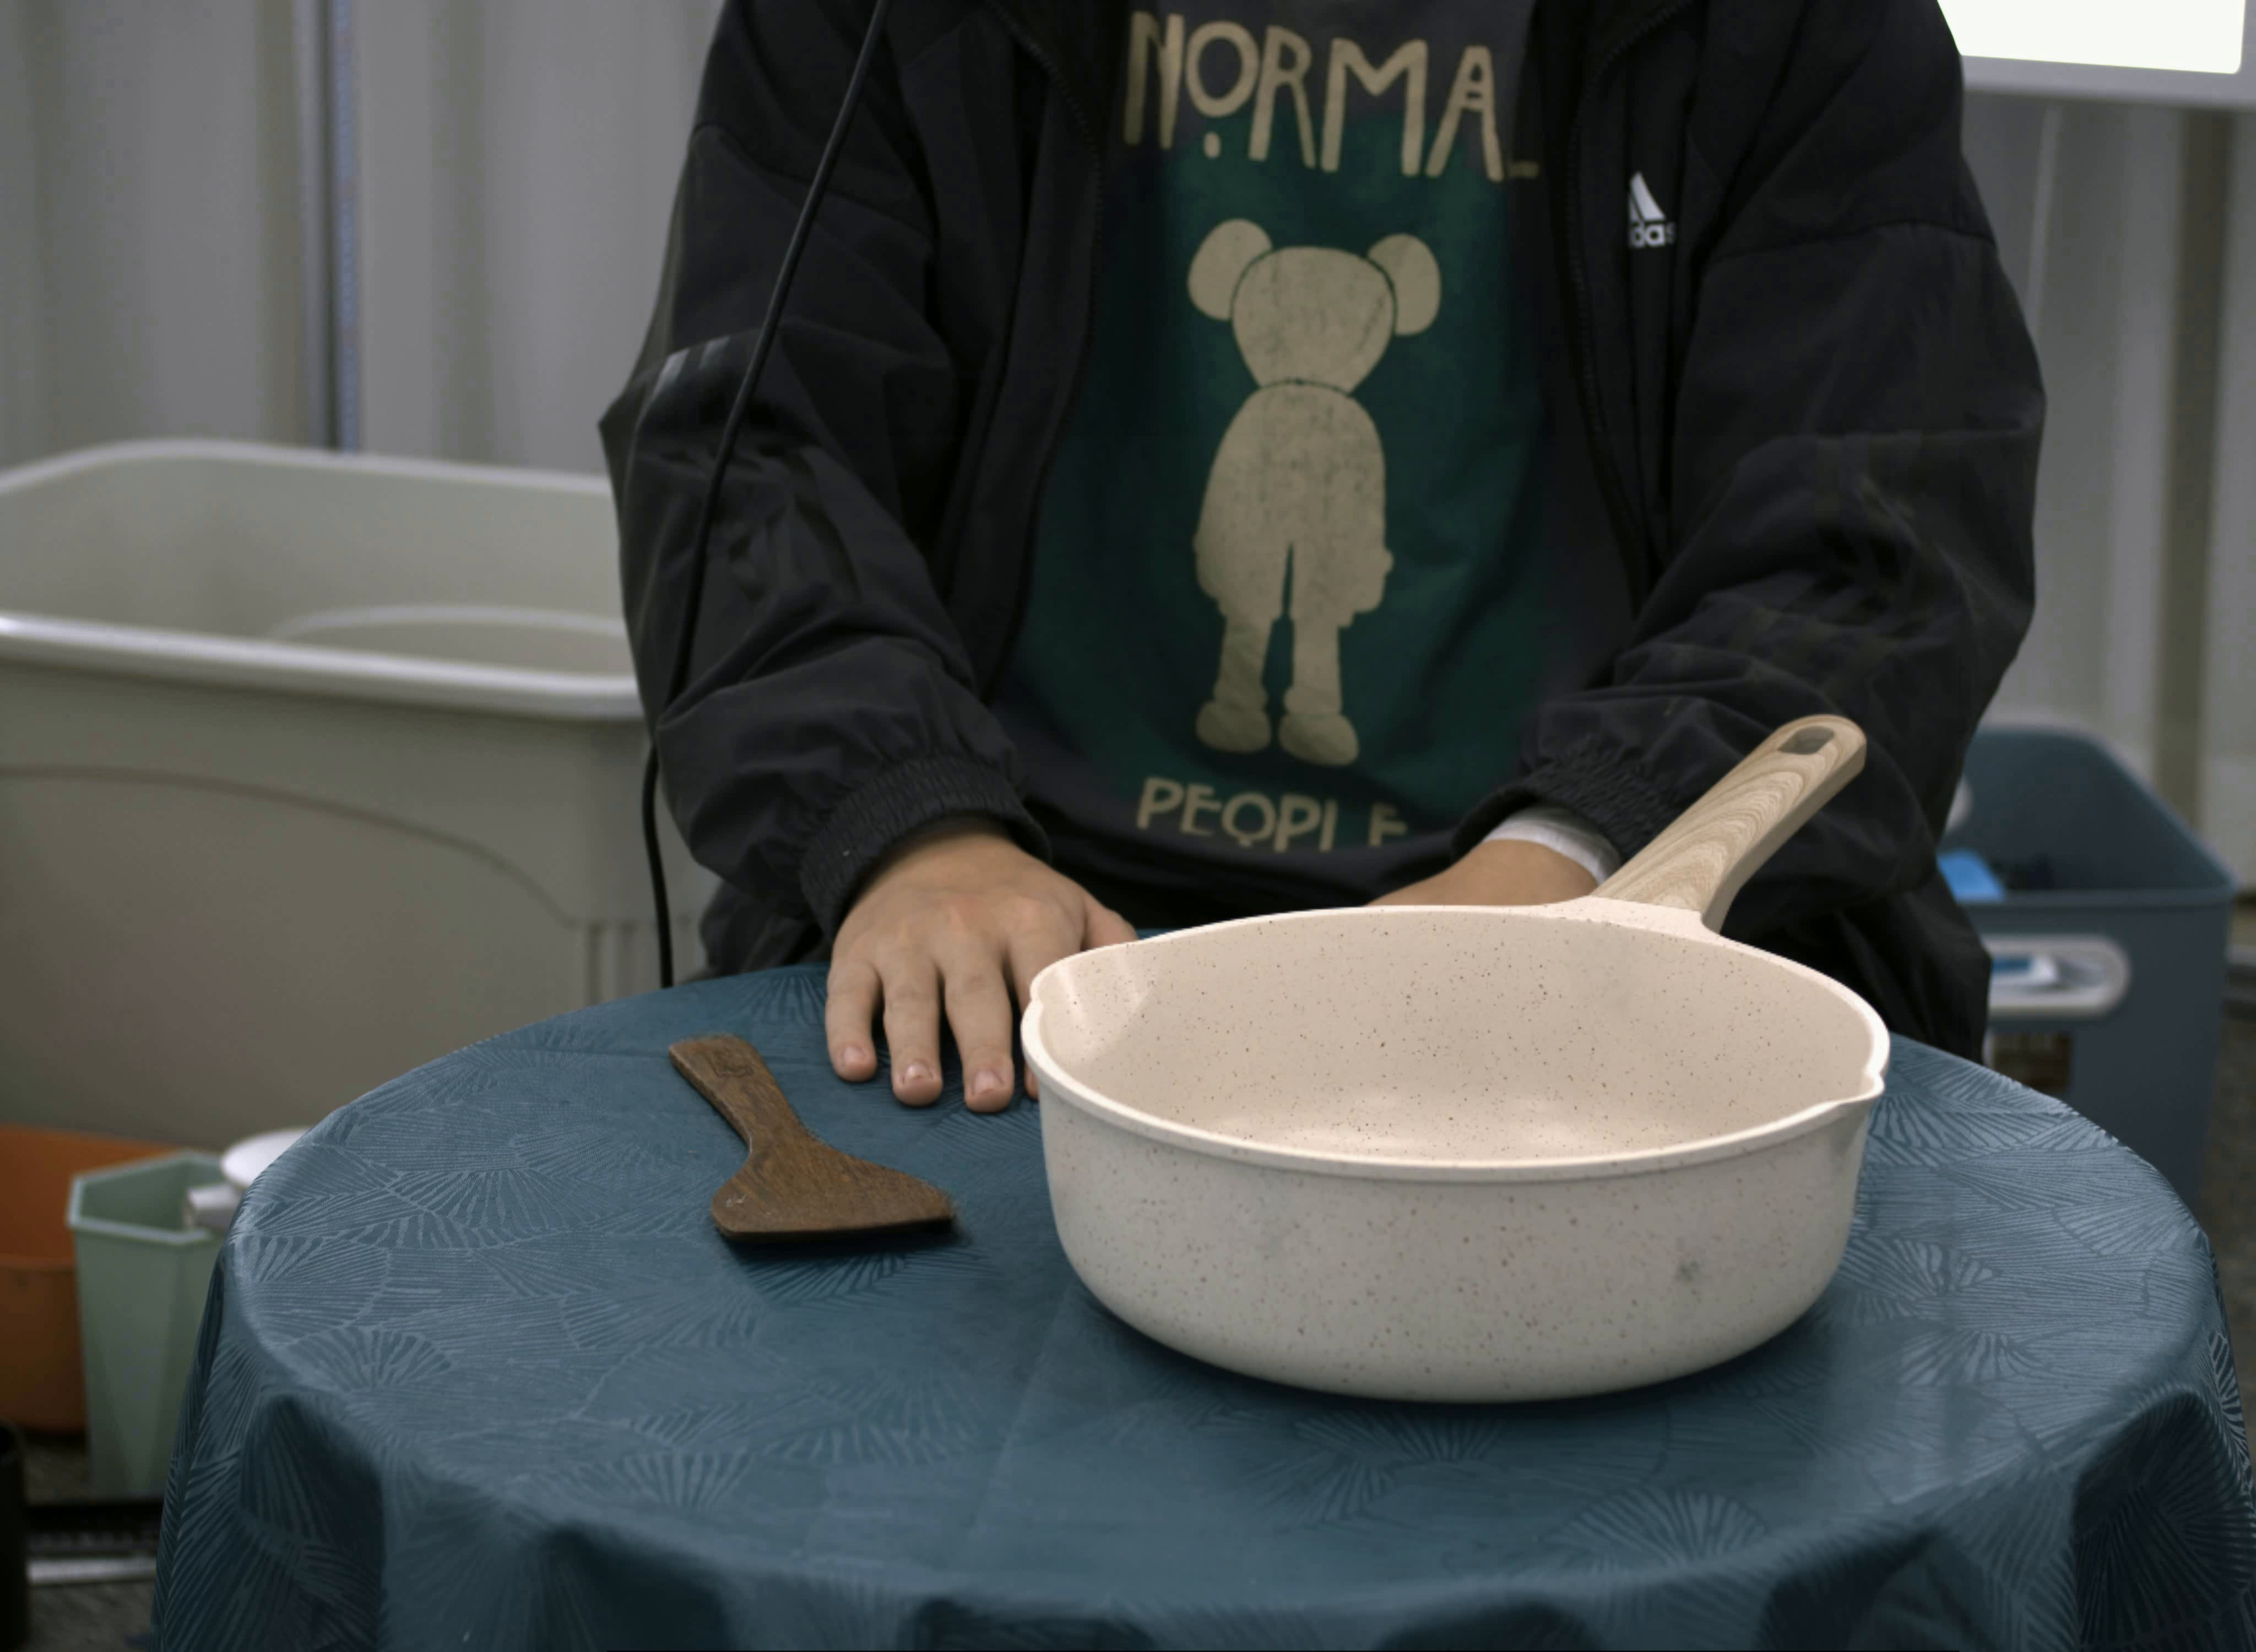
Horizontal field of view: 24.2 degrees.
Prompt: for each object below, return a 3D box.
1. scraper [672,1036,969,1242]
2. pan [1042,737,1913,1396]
[{"bbox_3d":[-0.110,0.098,1.658,0.076,0.011,0.209,-3,15,-16],"label":"scraper"},{"bbox_3d":[0.142,0.068,1.608,0.260,0.103,0.436,6,16,26],"label":"pan"}]
